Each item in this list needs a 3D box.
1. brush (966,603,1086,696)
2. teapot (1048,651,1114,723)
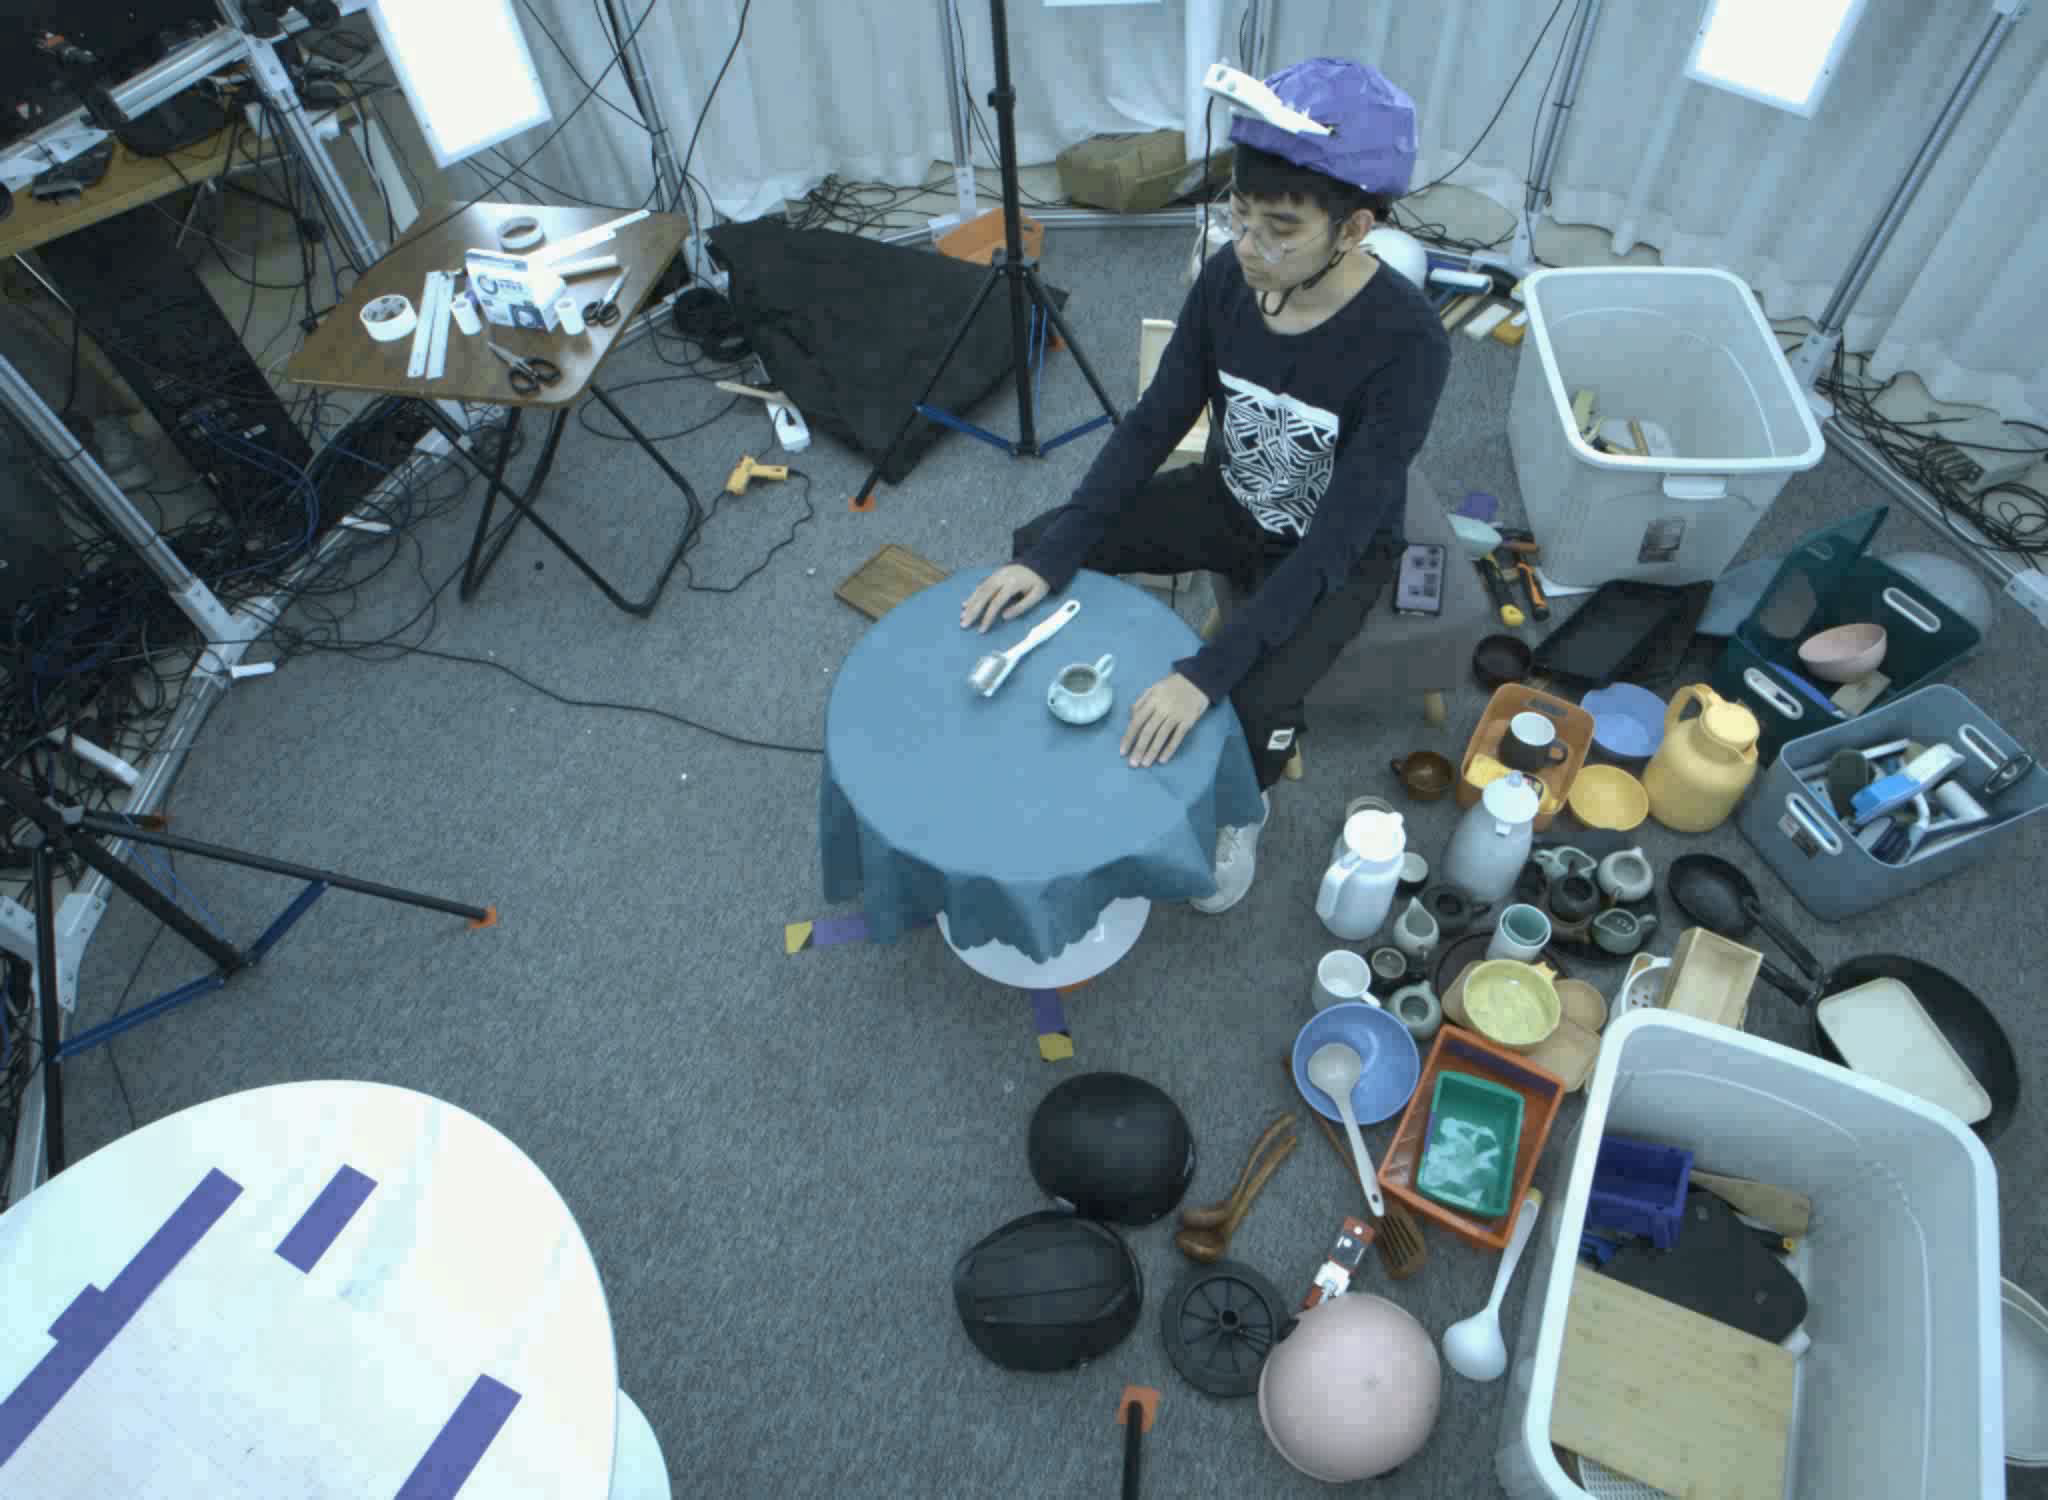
[{"bbox_3d":[0.007,-0.166,1.869,0.034,0.051,0.245,34,62,30],"label":"brush"},{"bbox_3d":[0.086,-0.090,1.804,0.094,0.062,0.138,35,63,27],"label":"teapot"}]
